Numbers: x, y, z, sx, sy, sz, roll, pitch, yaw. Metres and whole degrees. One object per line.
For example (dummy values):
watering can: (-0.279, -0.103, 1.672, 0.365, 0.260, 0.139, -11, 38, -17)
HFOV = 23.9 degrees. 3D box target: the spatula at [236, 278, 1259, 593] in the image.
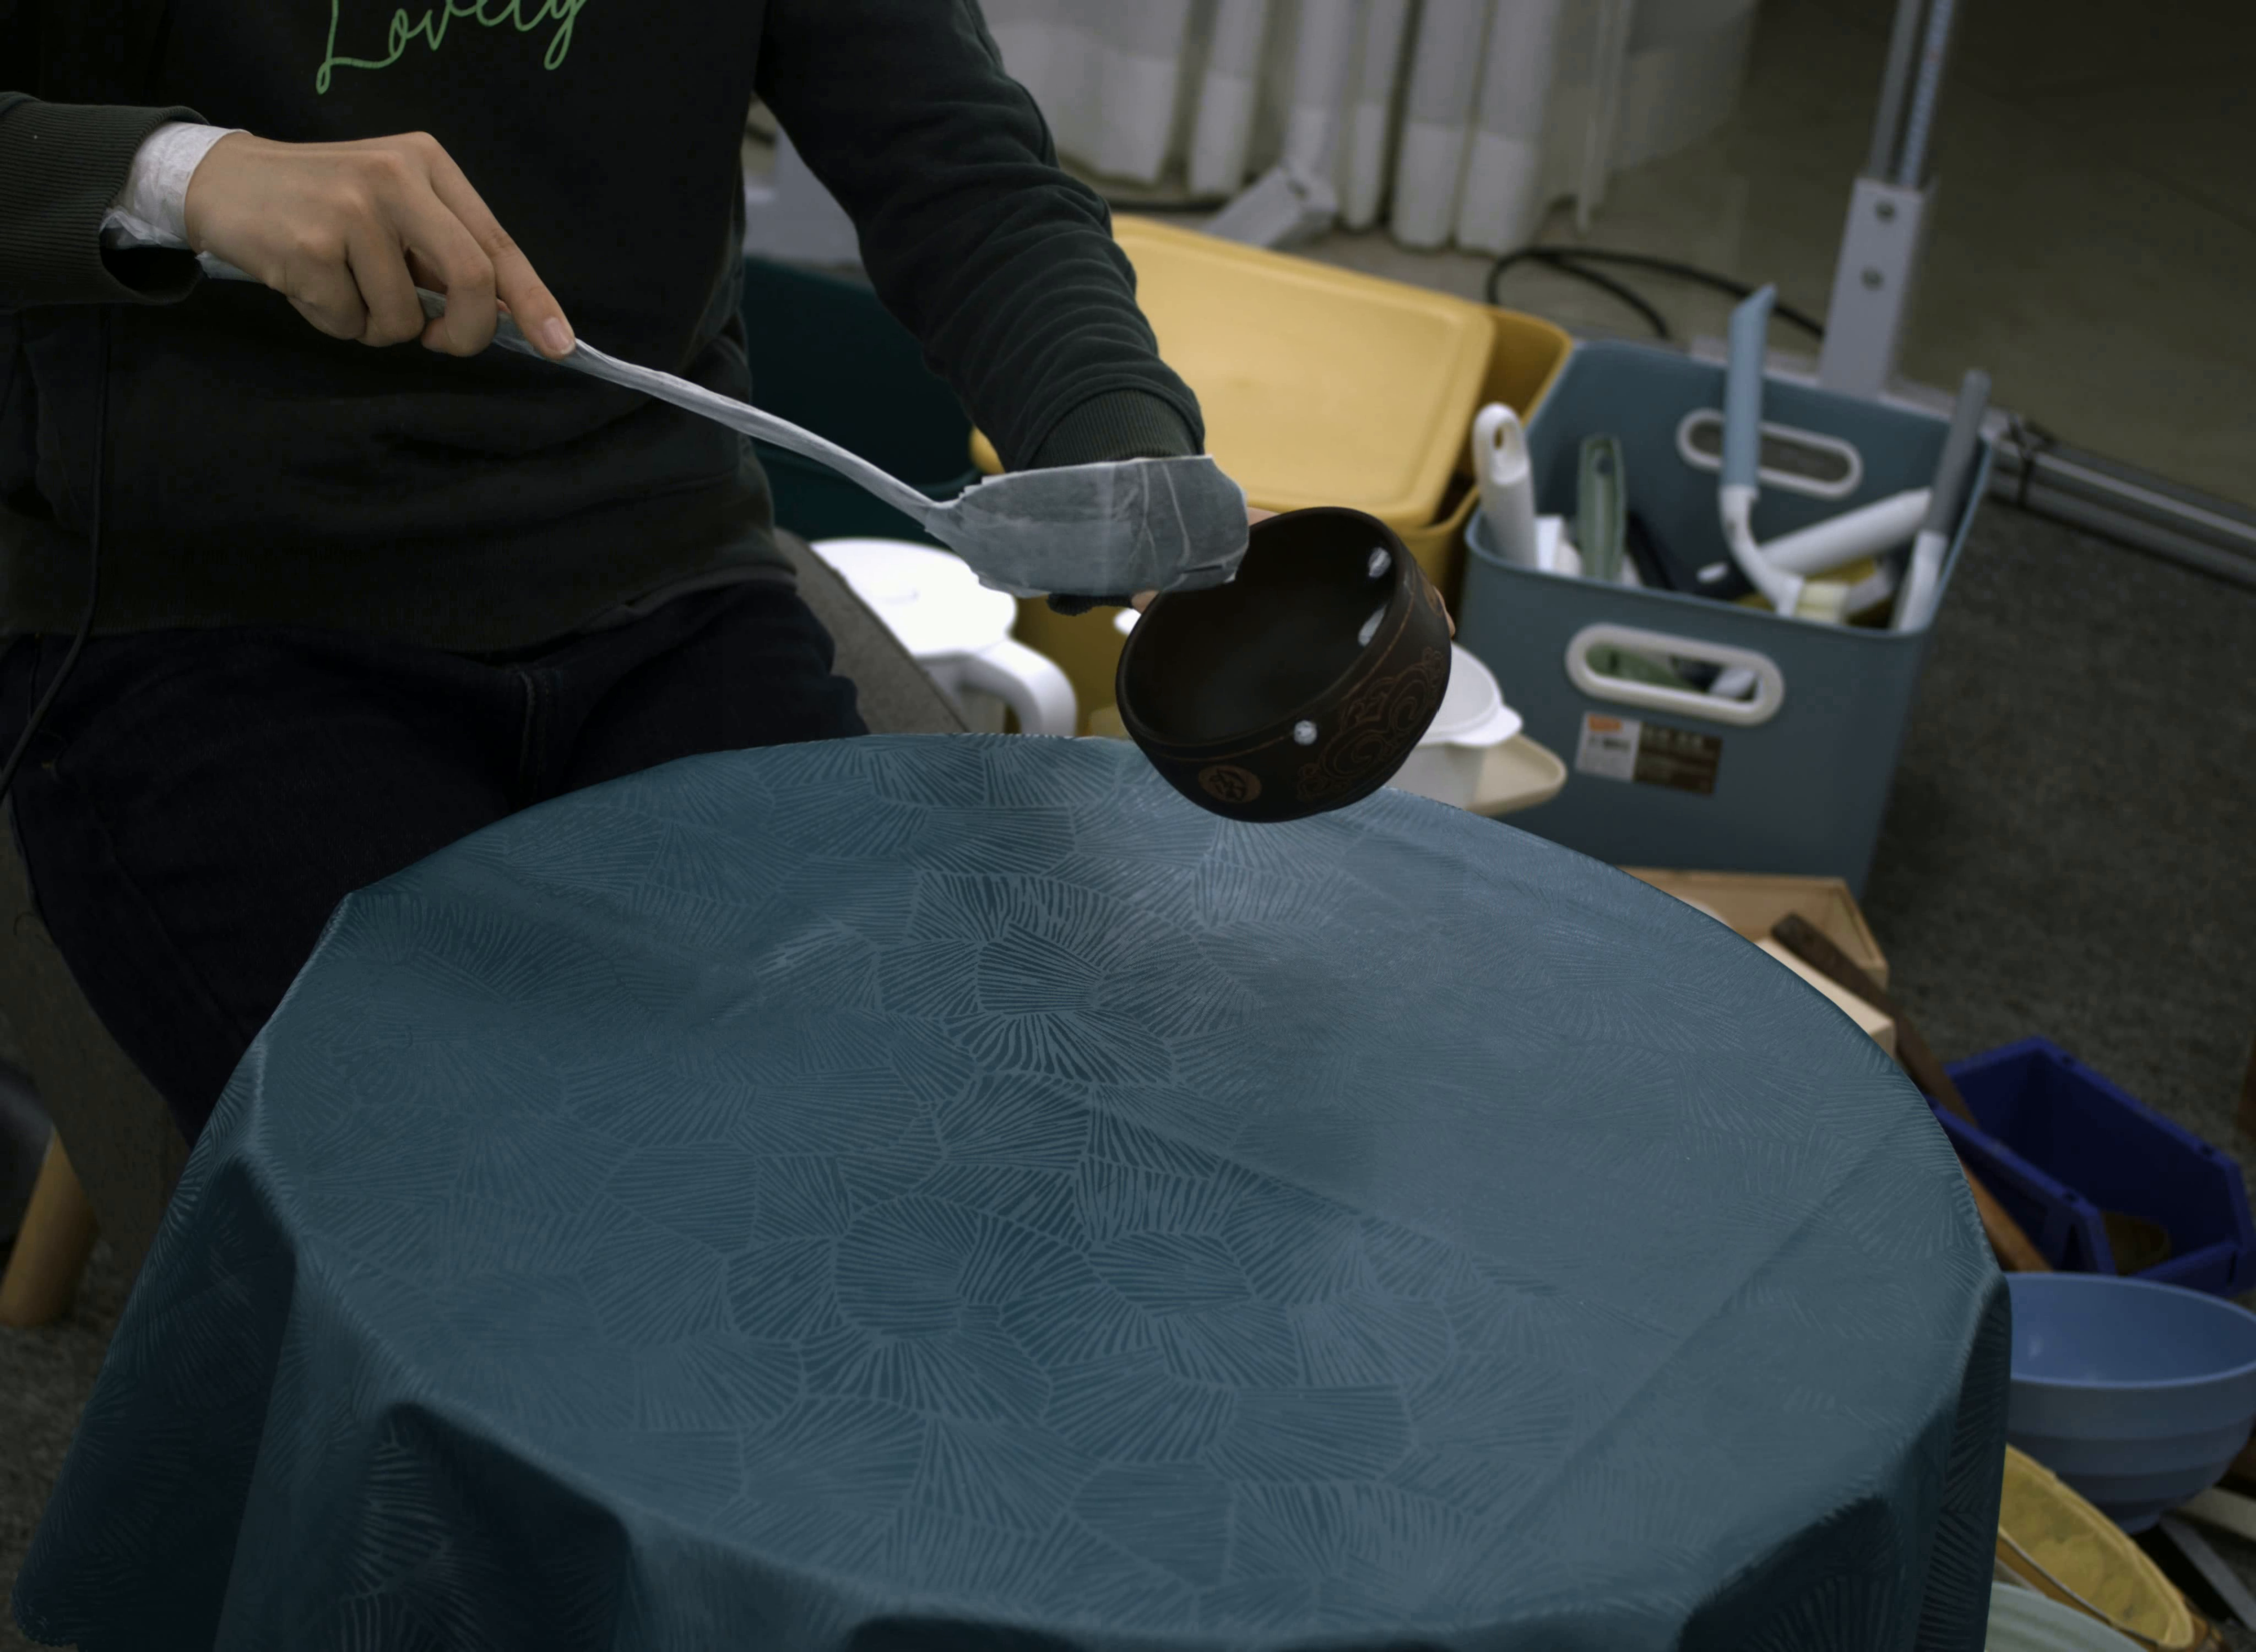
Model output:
spatula: (-0.133, -0.143, 1.814, 0.365, 0.098, 0.045, 20, 68, 10)

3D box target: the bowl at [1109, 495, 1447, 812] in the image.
bowl: (0.059, -0.052, 1.869, 0.118, 0.069, 0.119, -23, 35, 17)
